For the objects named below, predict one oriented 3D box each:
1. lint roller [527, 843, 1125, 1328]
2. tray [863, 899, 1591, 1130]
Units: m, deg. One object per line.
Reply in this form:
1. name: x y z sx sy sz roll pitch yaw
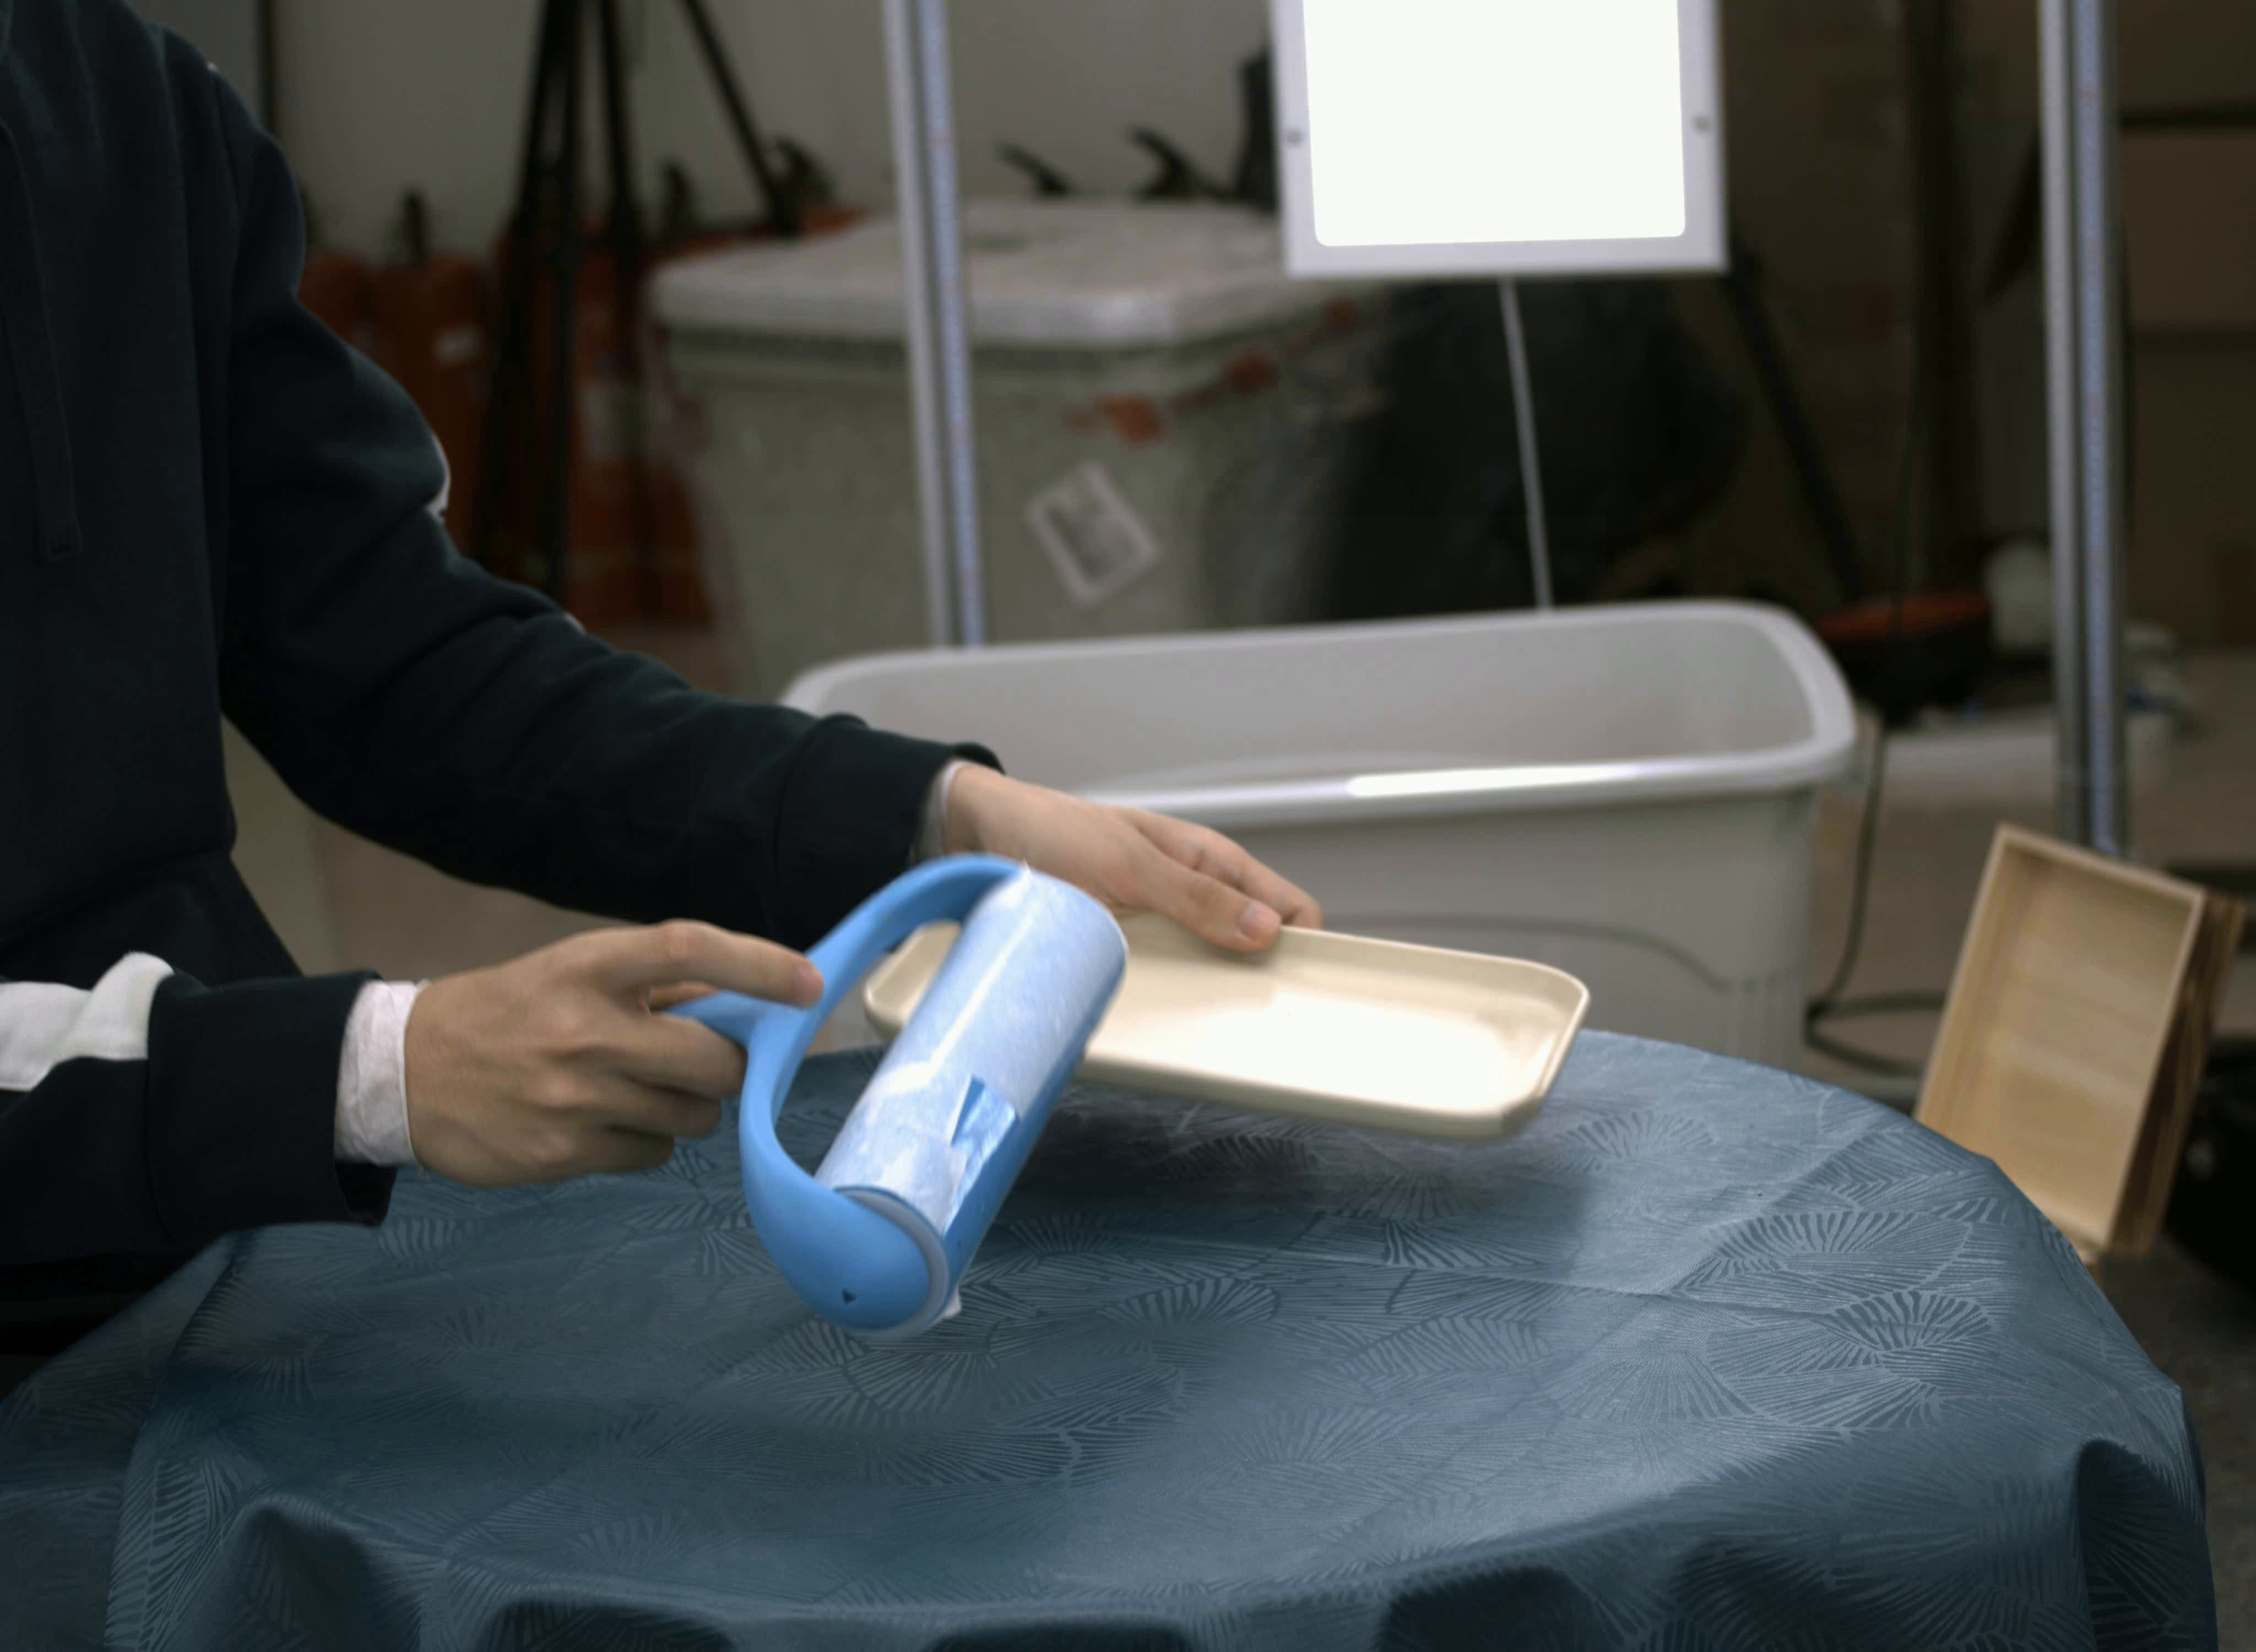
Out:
1. lint roller: -0.108 0.079 1.720 0.182 0.068 0.226 0 30 15
2. tray: 0.036 0.063 1.915 0.241 0.017 0.169 8 15 13
